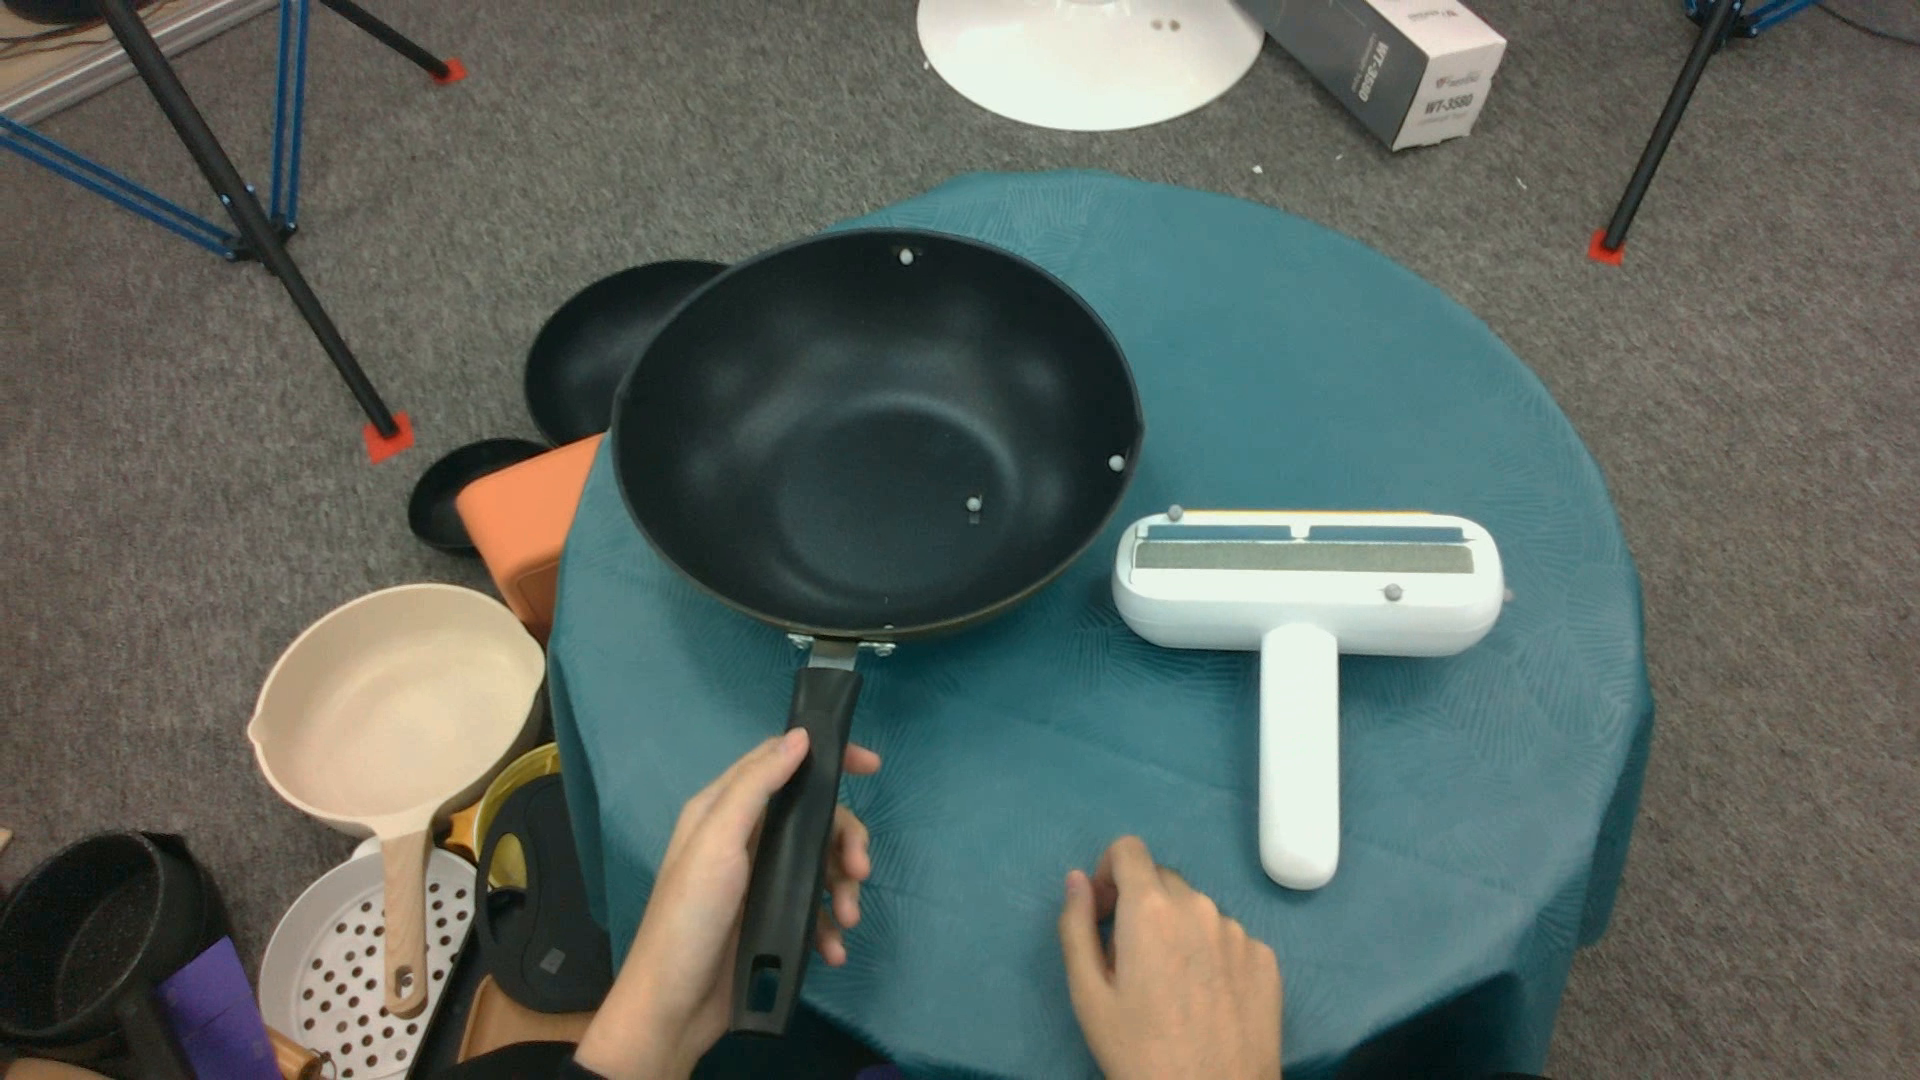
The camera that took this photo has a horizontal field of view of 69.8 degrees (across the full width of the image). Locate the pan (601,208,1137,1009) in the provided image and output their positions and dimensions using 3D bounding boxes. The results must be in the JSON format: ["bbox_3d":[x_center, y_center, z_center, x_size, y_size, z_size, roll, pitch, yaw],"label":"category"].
[{"bbox_3d":[-0.059,0.017,0.715,0.288,0.086,0.465,5,56,4],"label":"pan"}]

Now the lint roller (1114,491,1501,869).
[{"bbox_3d":[0.165,0.065,0.687,0.192,0.074,0.193,7,57,12],"label":"lint roller"}]
